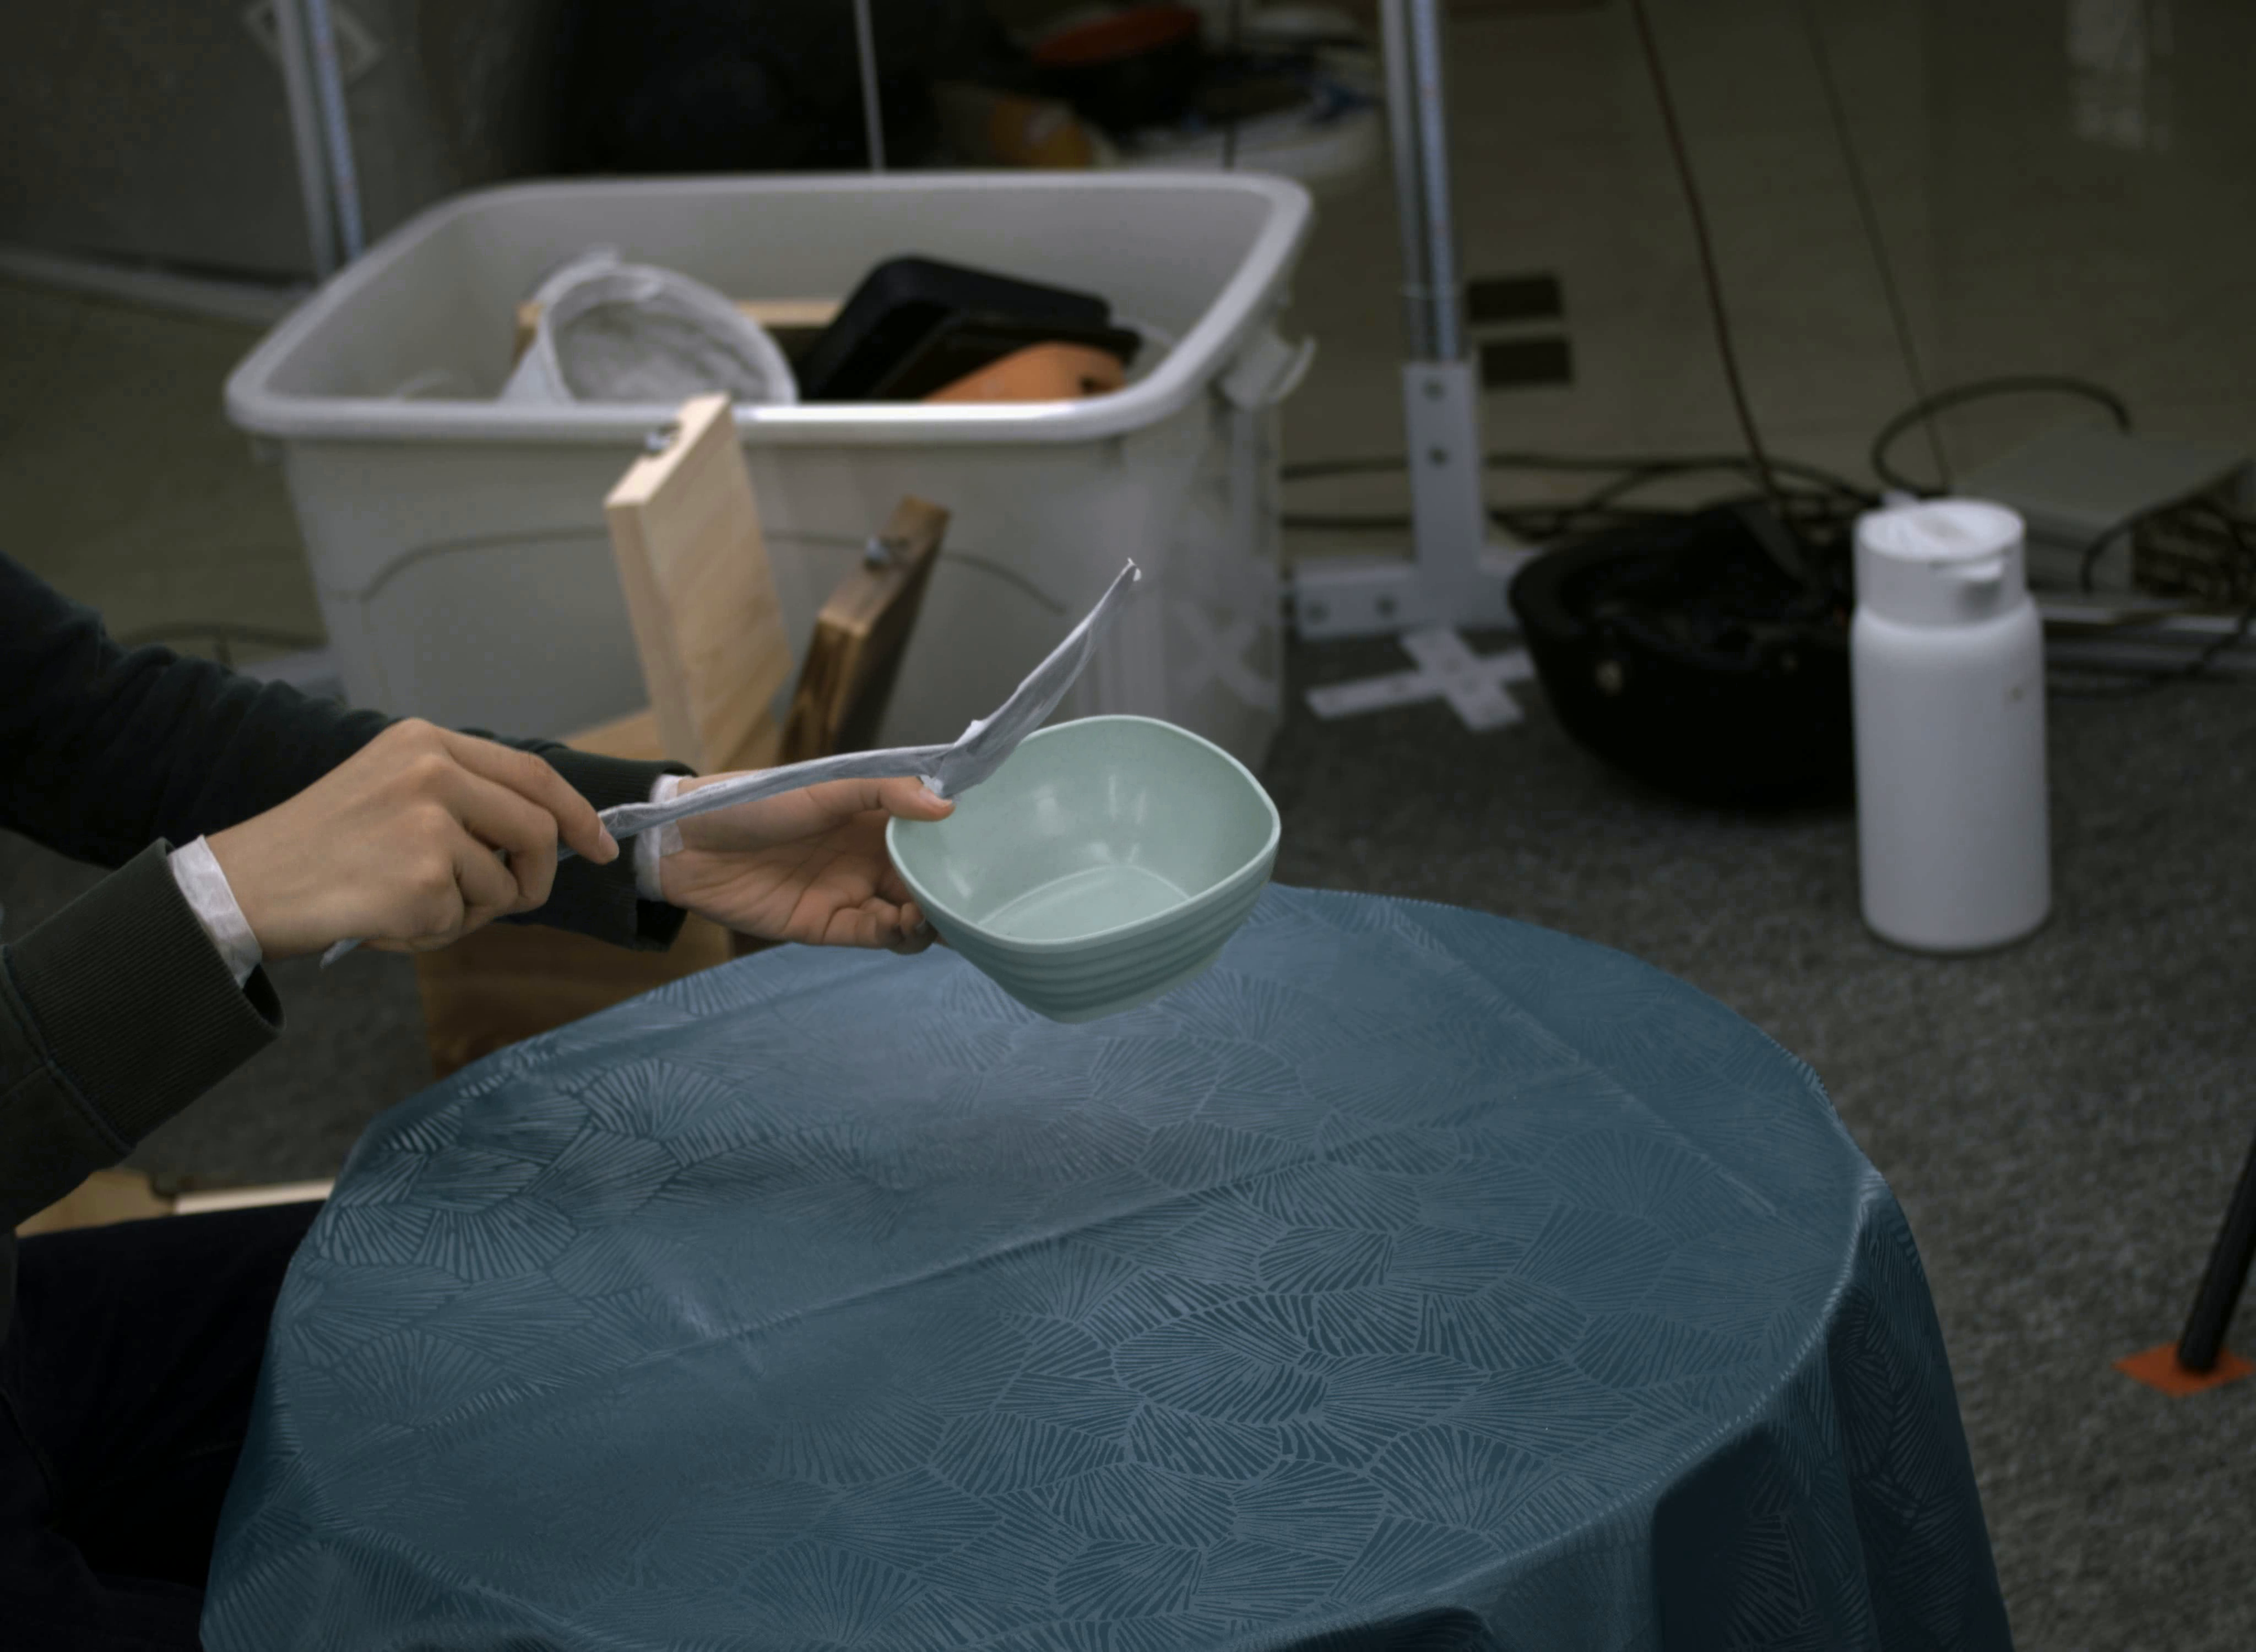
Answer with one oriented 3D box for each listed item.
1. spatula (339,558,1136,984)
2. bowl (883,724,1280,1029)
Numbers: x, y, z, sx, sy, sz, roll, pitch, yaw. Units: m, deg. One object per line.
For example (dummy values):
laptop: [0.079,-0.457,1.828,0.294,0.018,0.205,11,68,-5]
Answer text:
spatula: [-0.131,-0.015,1.957,0.362,0.100,0.044,-18,68,-40]
bowl: [-0.016,0.026,2.138,0.151,0.060,0.149,-2,35,2]
